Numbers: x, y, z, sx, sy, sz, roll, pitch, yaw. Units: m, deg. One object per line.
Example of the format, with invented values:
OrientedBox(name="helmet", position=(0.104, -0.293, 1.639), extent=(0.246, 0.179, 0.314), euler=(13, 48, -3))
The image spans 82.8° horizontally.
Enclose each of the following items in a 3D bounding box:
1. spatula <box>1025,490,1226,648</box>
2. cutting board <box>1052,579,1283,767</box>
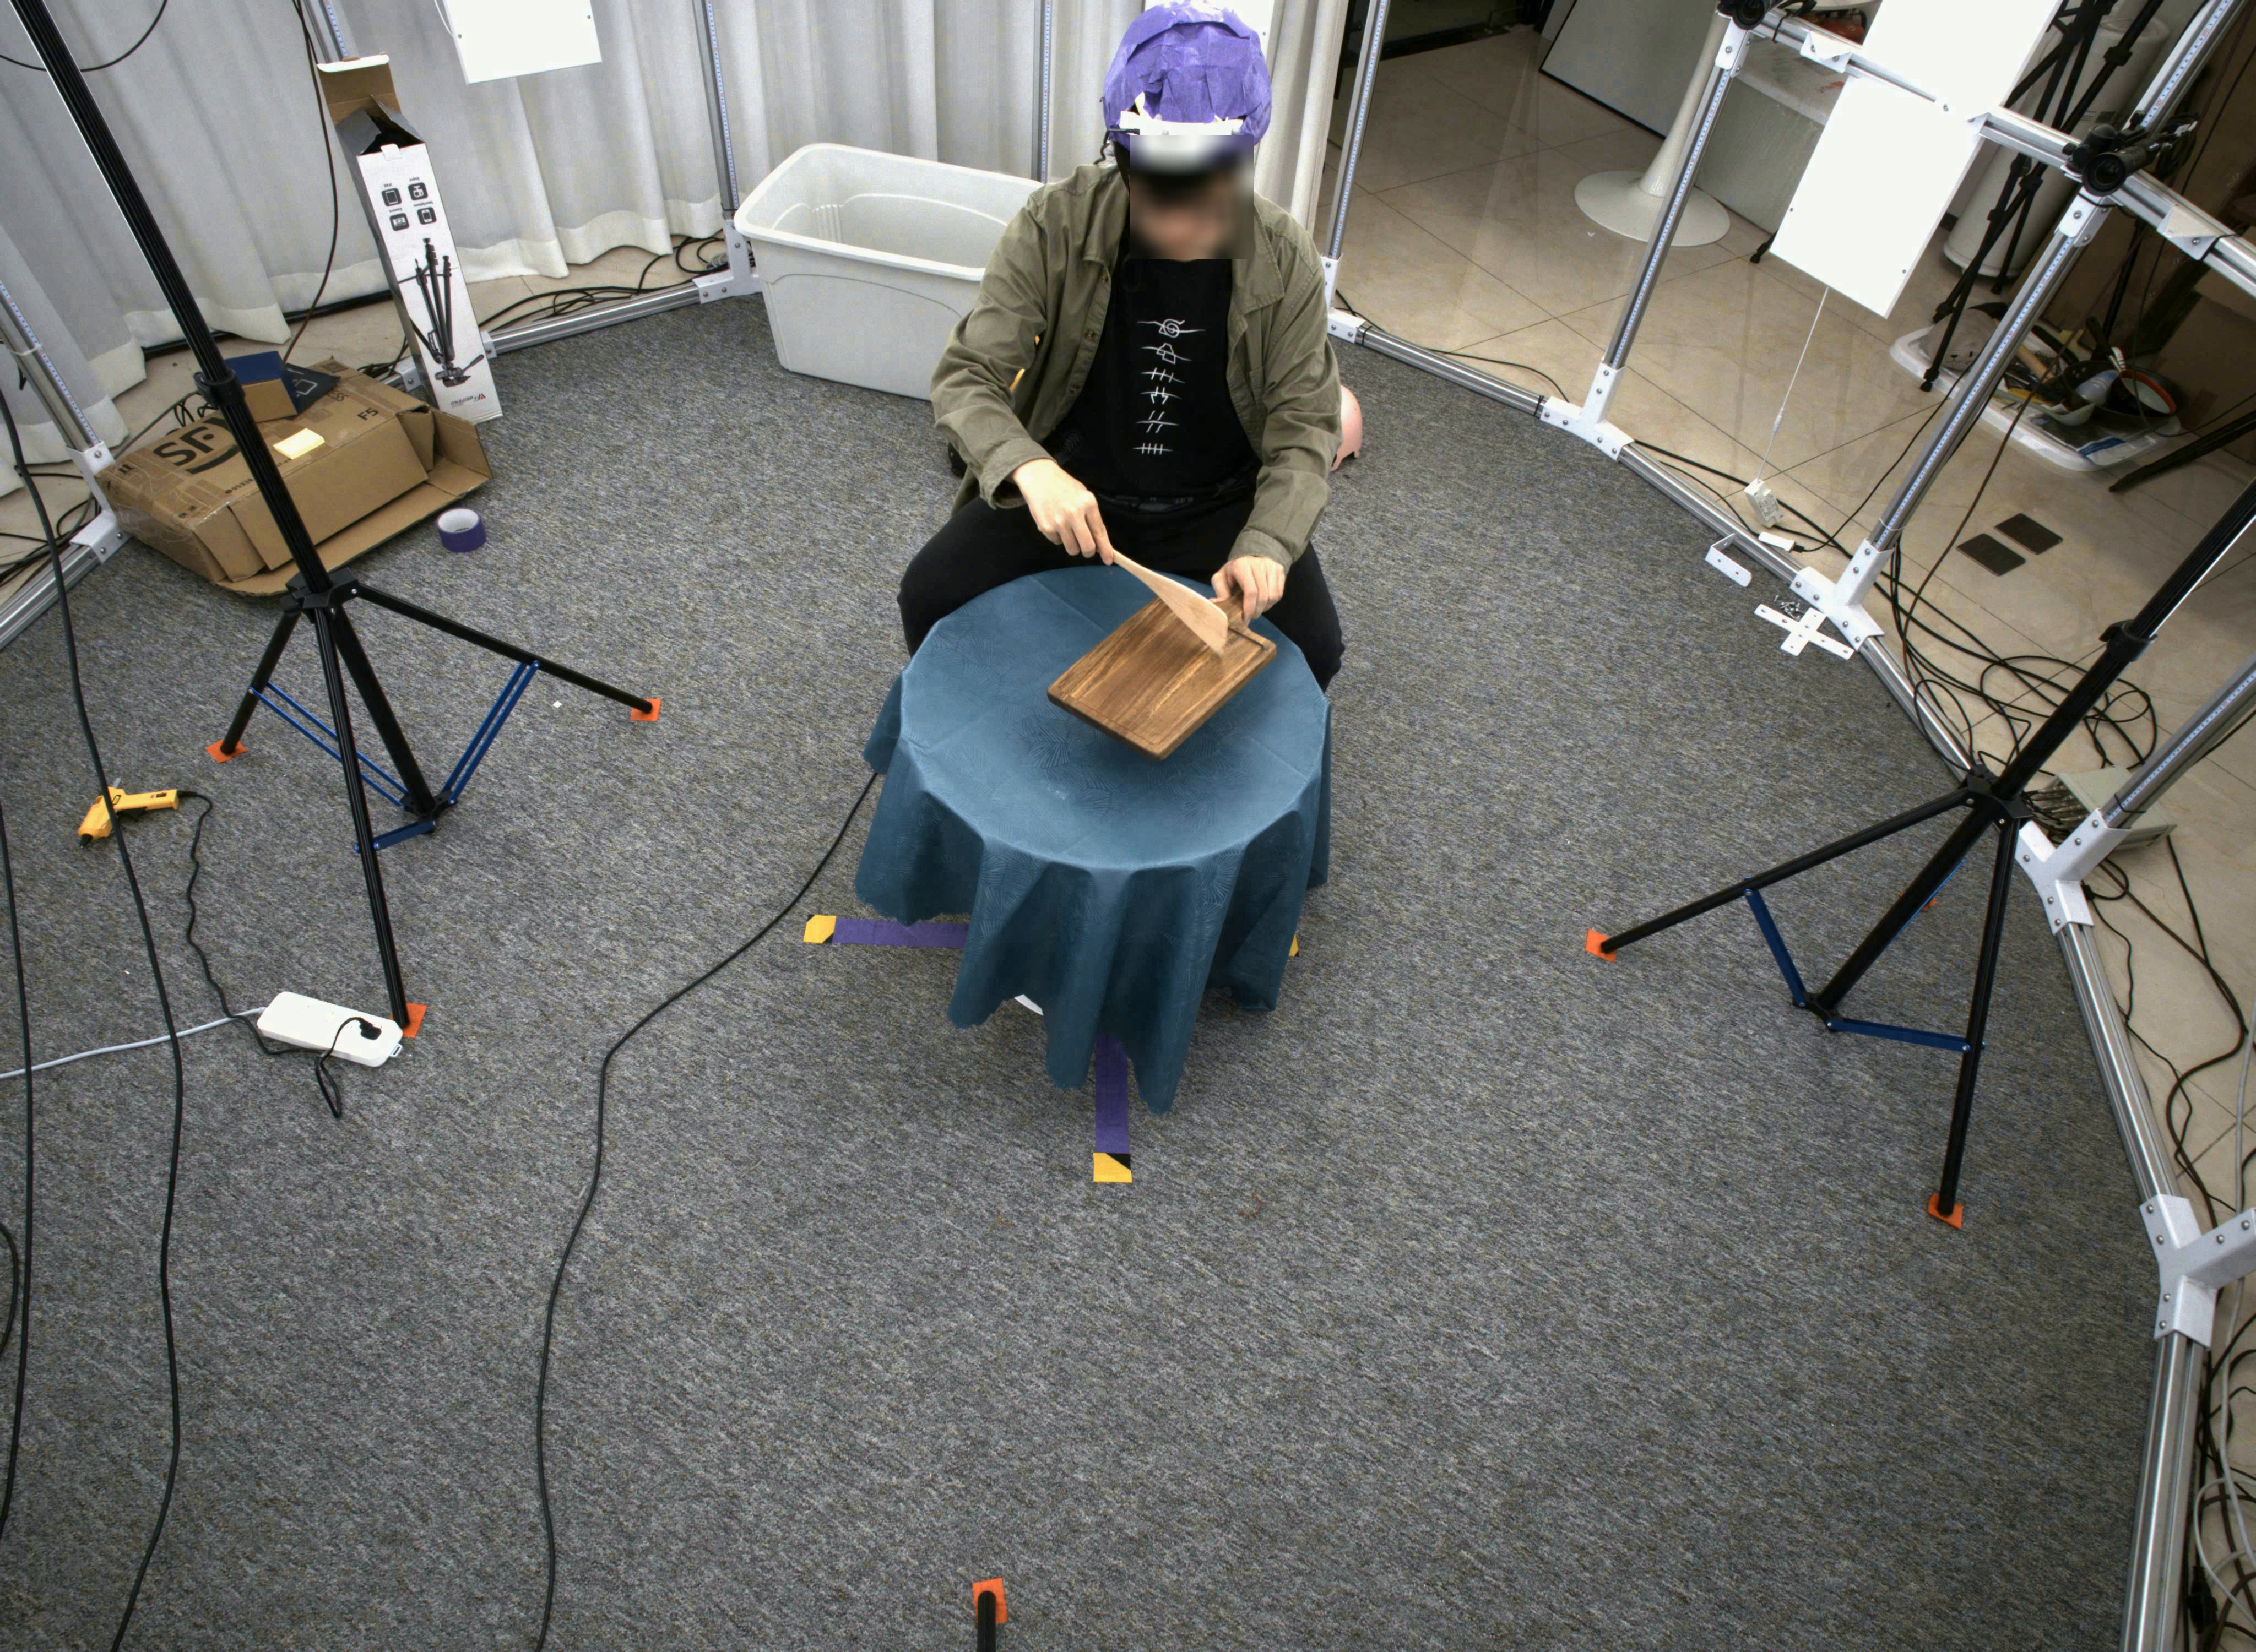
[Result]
OrientedBox(name="spatula", position=(-0.003, -0.345, 1.682), extent=(0.329, 0.078, 0.017), euler=(34, 63, 8))
OrientedBox(name="cutting board", position=(0.086, -0.227, 1.706), extent=(0.204, 0.022, 0.356), euler=(32, 59, 29))
